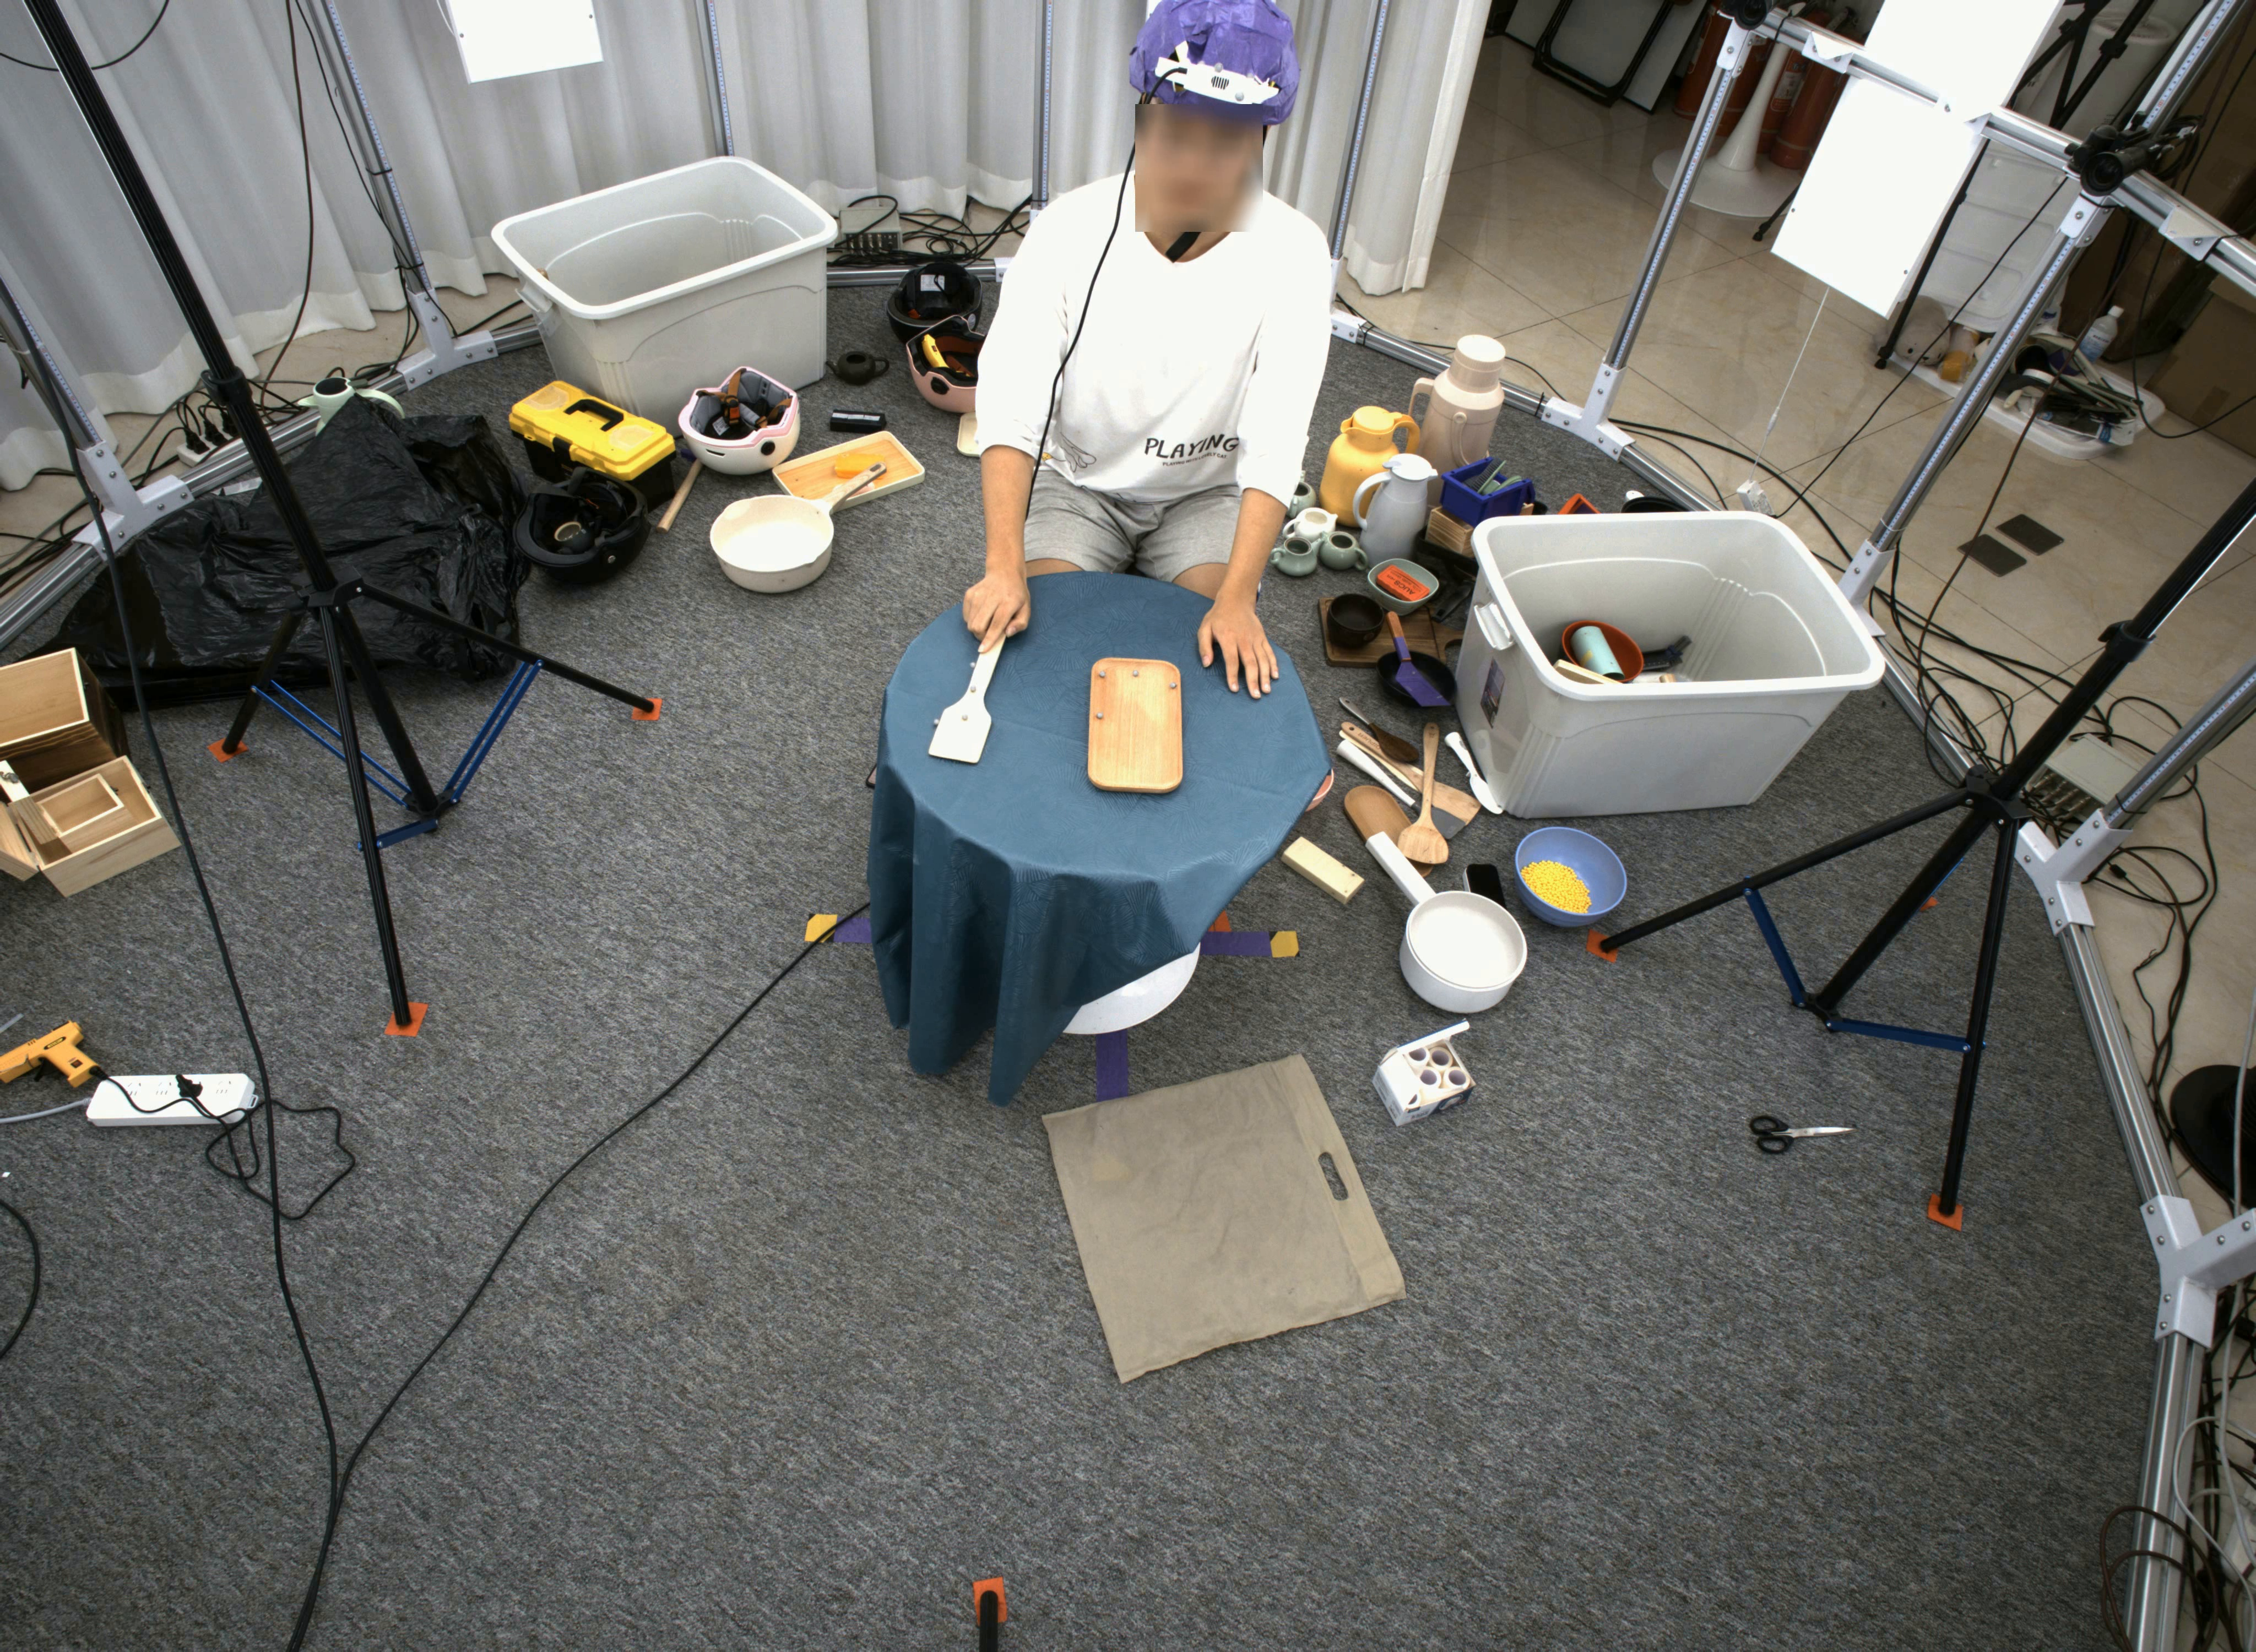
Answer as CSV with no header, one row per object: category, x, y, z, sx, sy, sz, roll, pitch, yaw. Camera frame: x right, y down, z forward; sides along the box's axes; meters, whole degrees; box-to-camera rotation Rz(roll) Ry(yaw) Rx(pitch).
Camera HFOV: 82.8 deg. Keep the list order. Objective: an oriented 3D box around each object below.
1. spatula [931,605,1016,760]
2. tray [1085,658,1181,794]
spatula,-0.206,-0.208,1.813,0.072,0.010,0.299,9,53,6
tray,0.009,-0.142,1.777,0.130,0.022,0.257,2,49,1
